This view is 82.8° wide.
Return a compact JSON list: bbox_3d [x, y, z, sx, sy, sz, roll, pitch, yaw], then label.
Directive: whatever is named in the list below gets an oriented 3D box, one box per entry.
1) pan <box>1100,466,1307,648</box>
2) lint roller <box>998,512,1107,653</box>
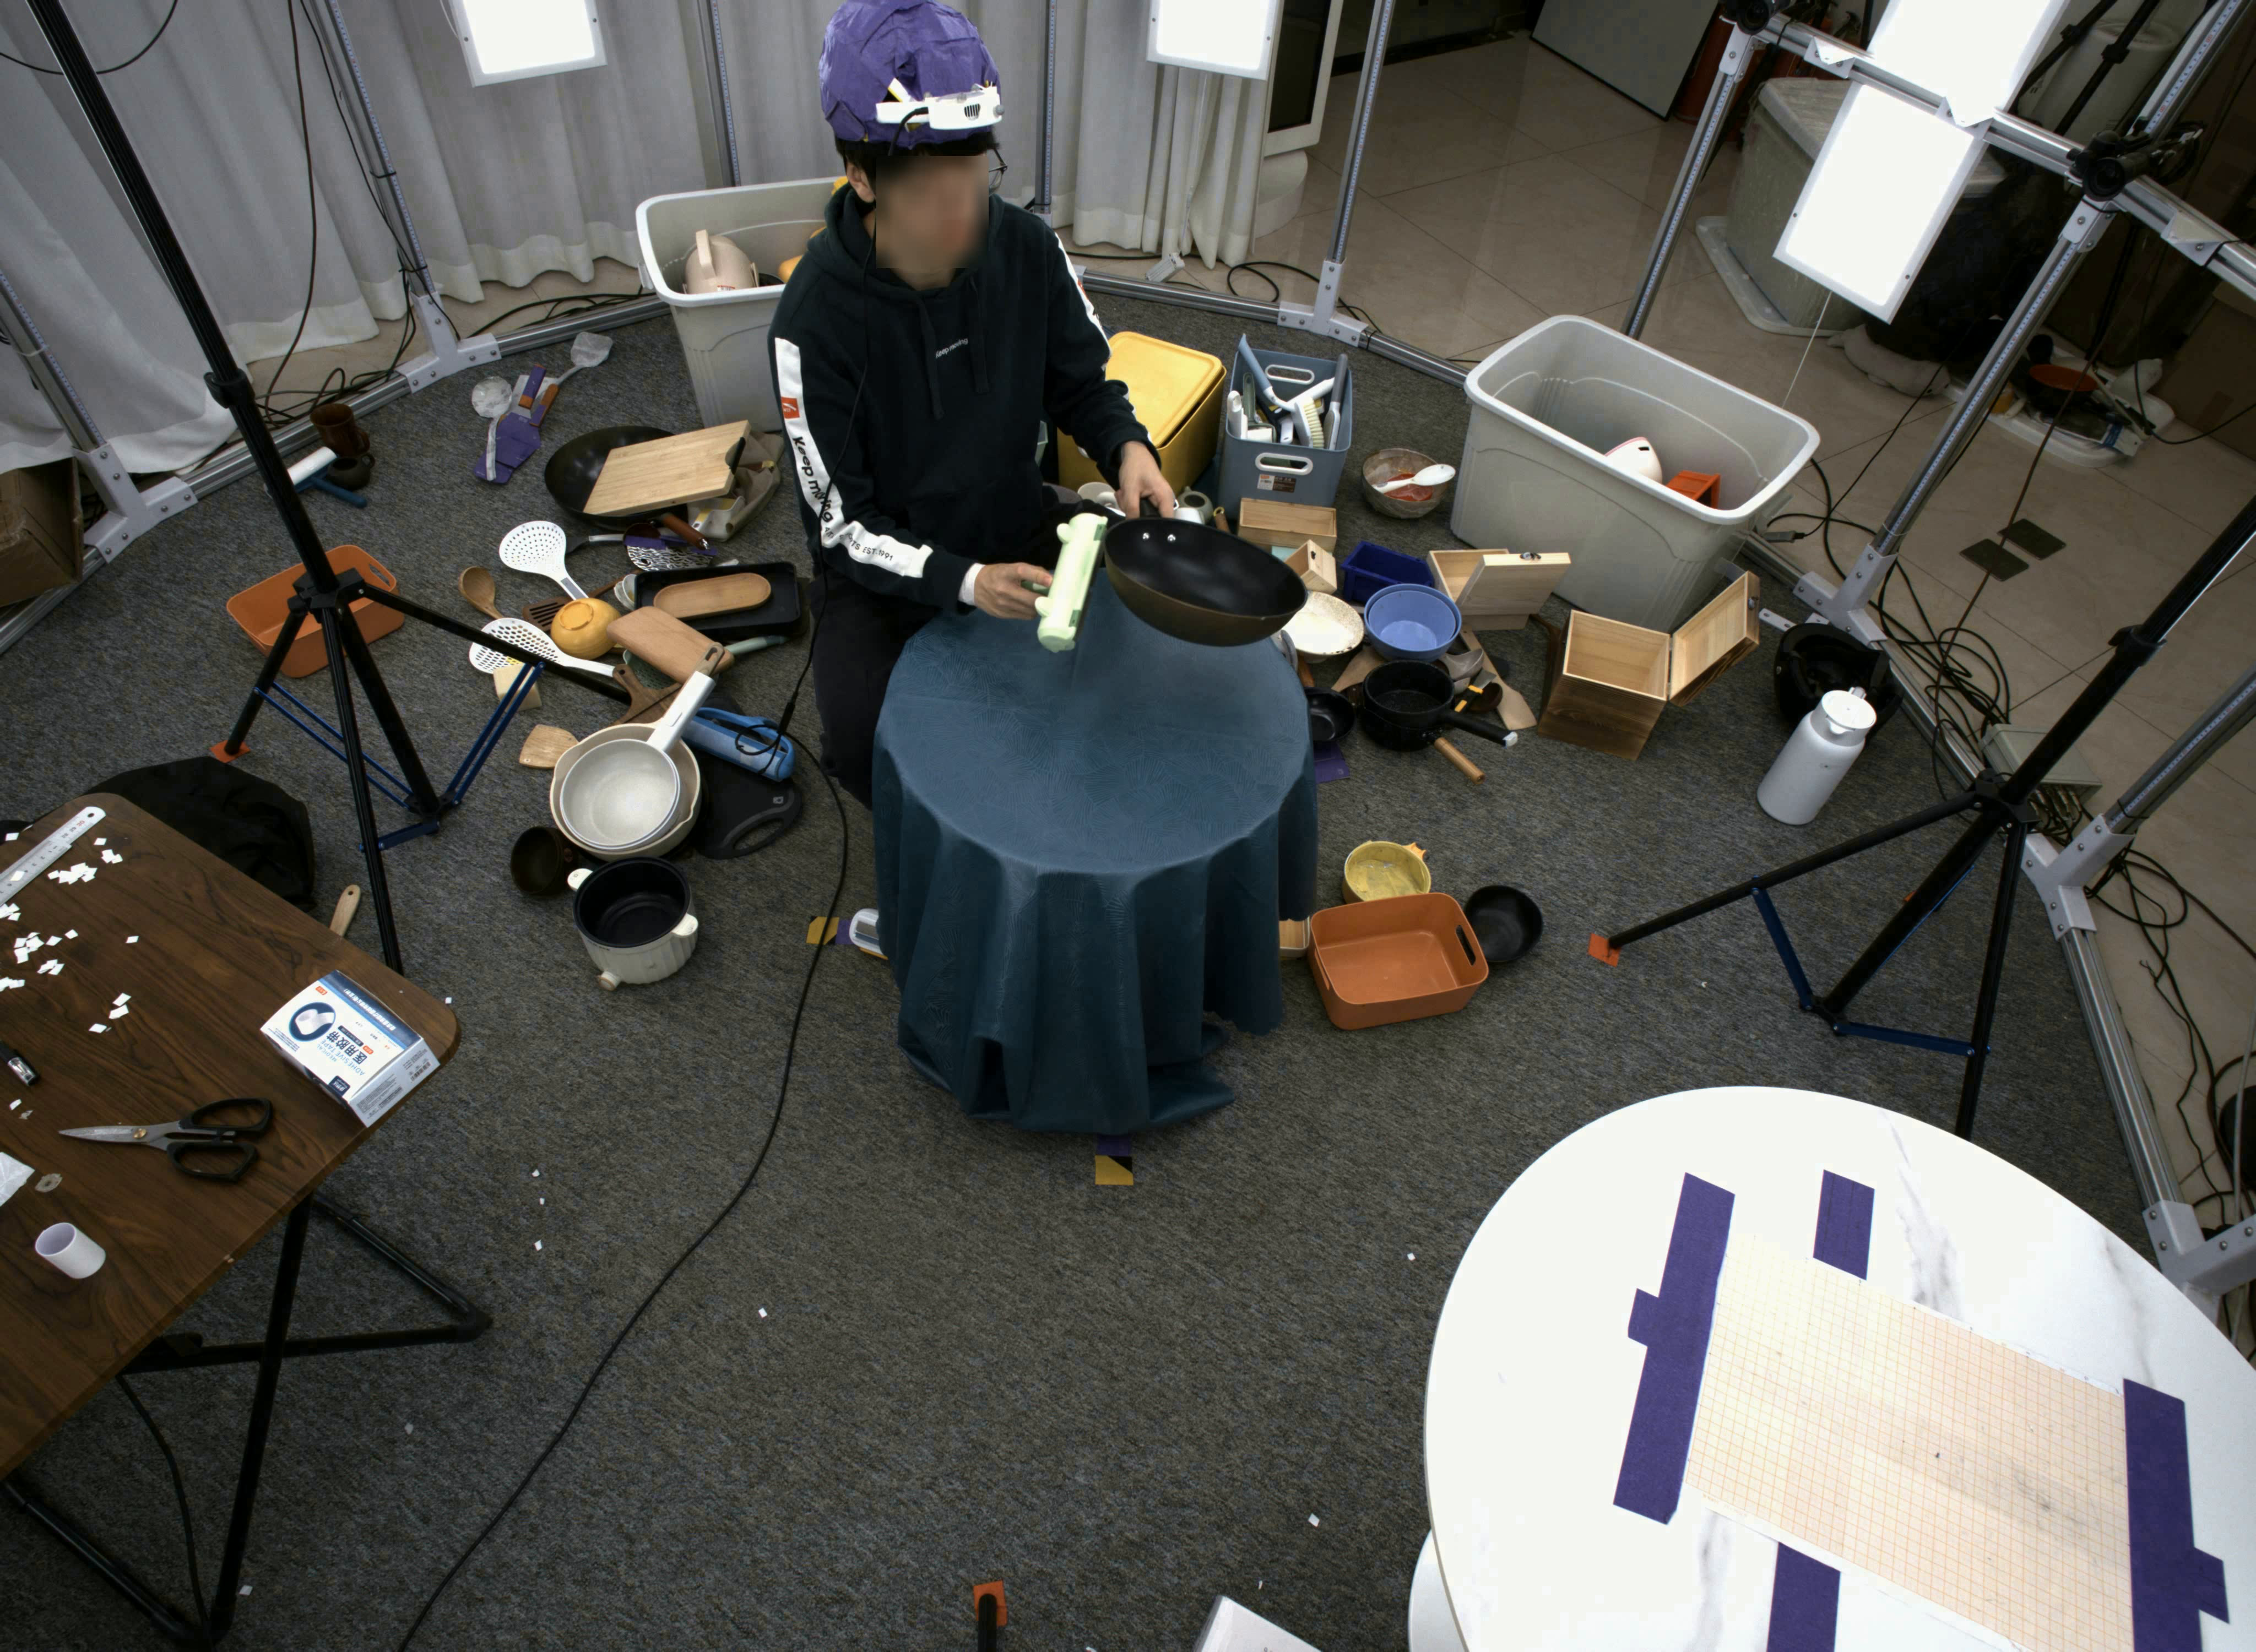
[{"bbox_3d":[0.052,-0.368,1.775,0.287,0.085,0.474,-4,38,-30],"label":"pan"},{"bbox_3d":[-0.123,-0.335,1.770,0.184,0.080,0.201,0,65,34],"label":"lint roller"}]
